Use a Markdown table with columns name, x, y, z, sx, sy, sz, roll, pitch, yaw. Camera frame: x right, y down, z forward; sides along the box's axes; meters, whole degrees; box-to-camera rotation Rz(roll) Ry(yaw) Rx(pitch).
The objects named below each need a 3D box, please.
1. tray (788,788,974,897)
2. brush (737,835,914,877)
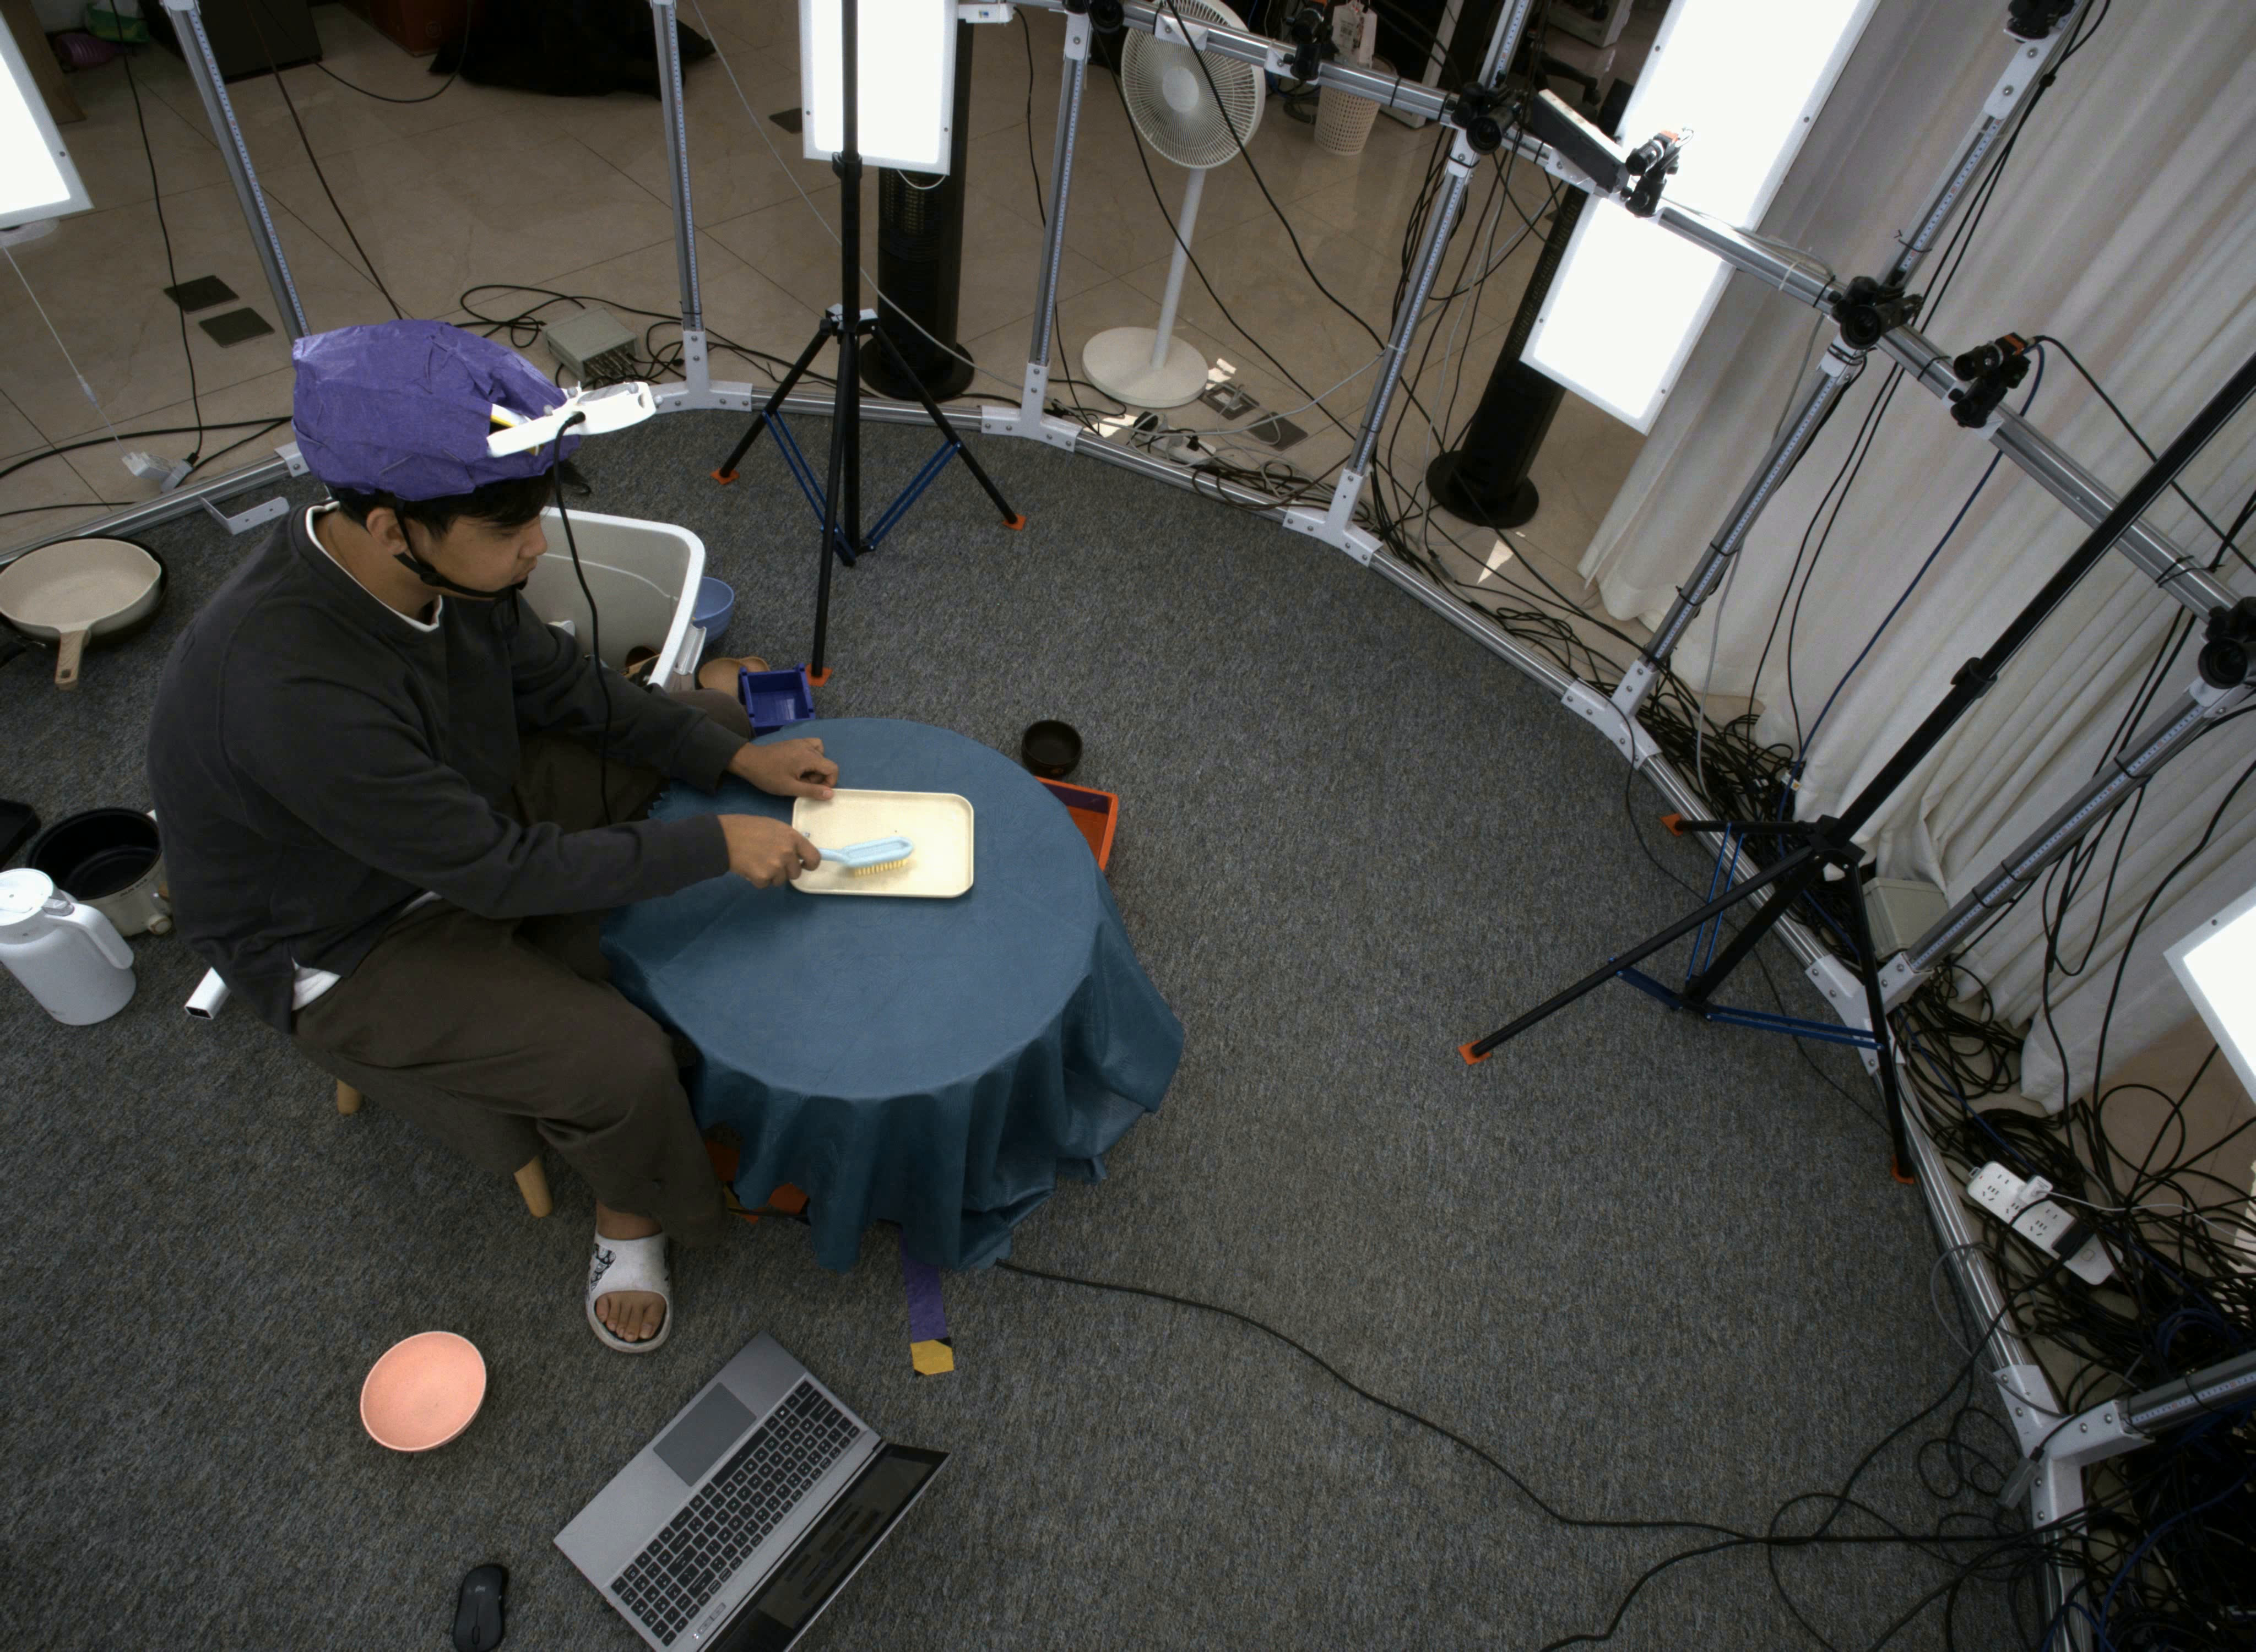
| name | x | y | z | sx | sy | sz | roll | pitch | yaw |
| --- | --- | --- | --- | --- | --- | --- | --- | --- | --- |
| tray | -0.323 | 0.022 | 1.717 | 0.239 | 0.018 | 0.168 | 3 | 52 | -12 |
| brush | -0.382 | 0.042 | 1.646 | 0.232 | 0.050 | 0.037 | -4 | 50 | -35 |
